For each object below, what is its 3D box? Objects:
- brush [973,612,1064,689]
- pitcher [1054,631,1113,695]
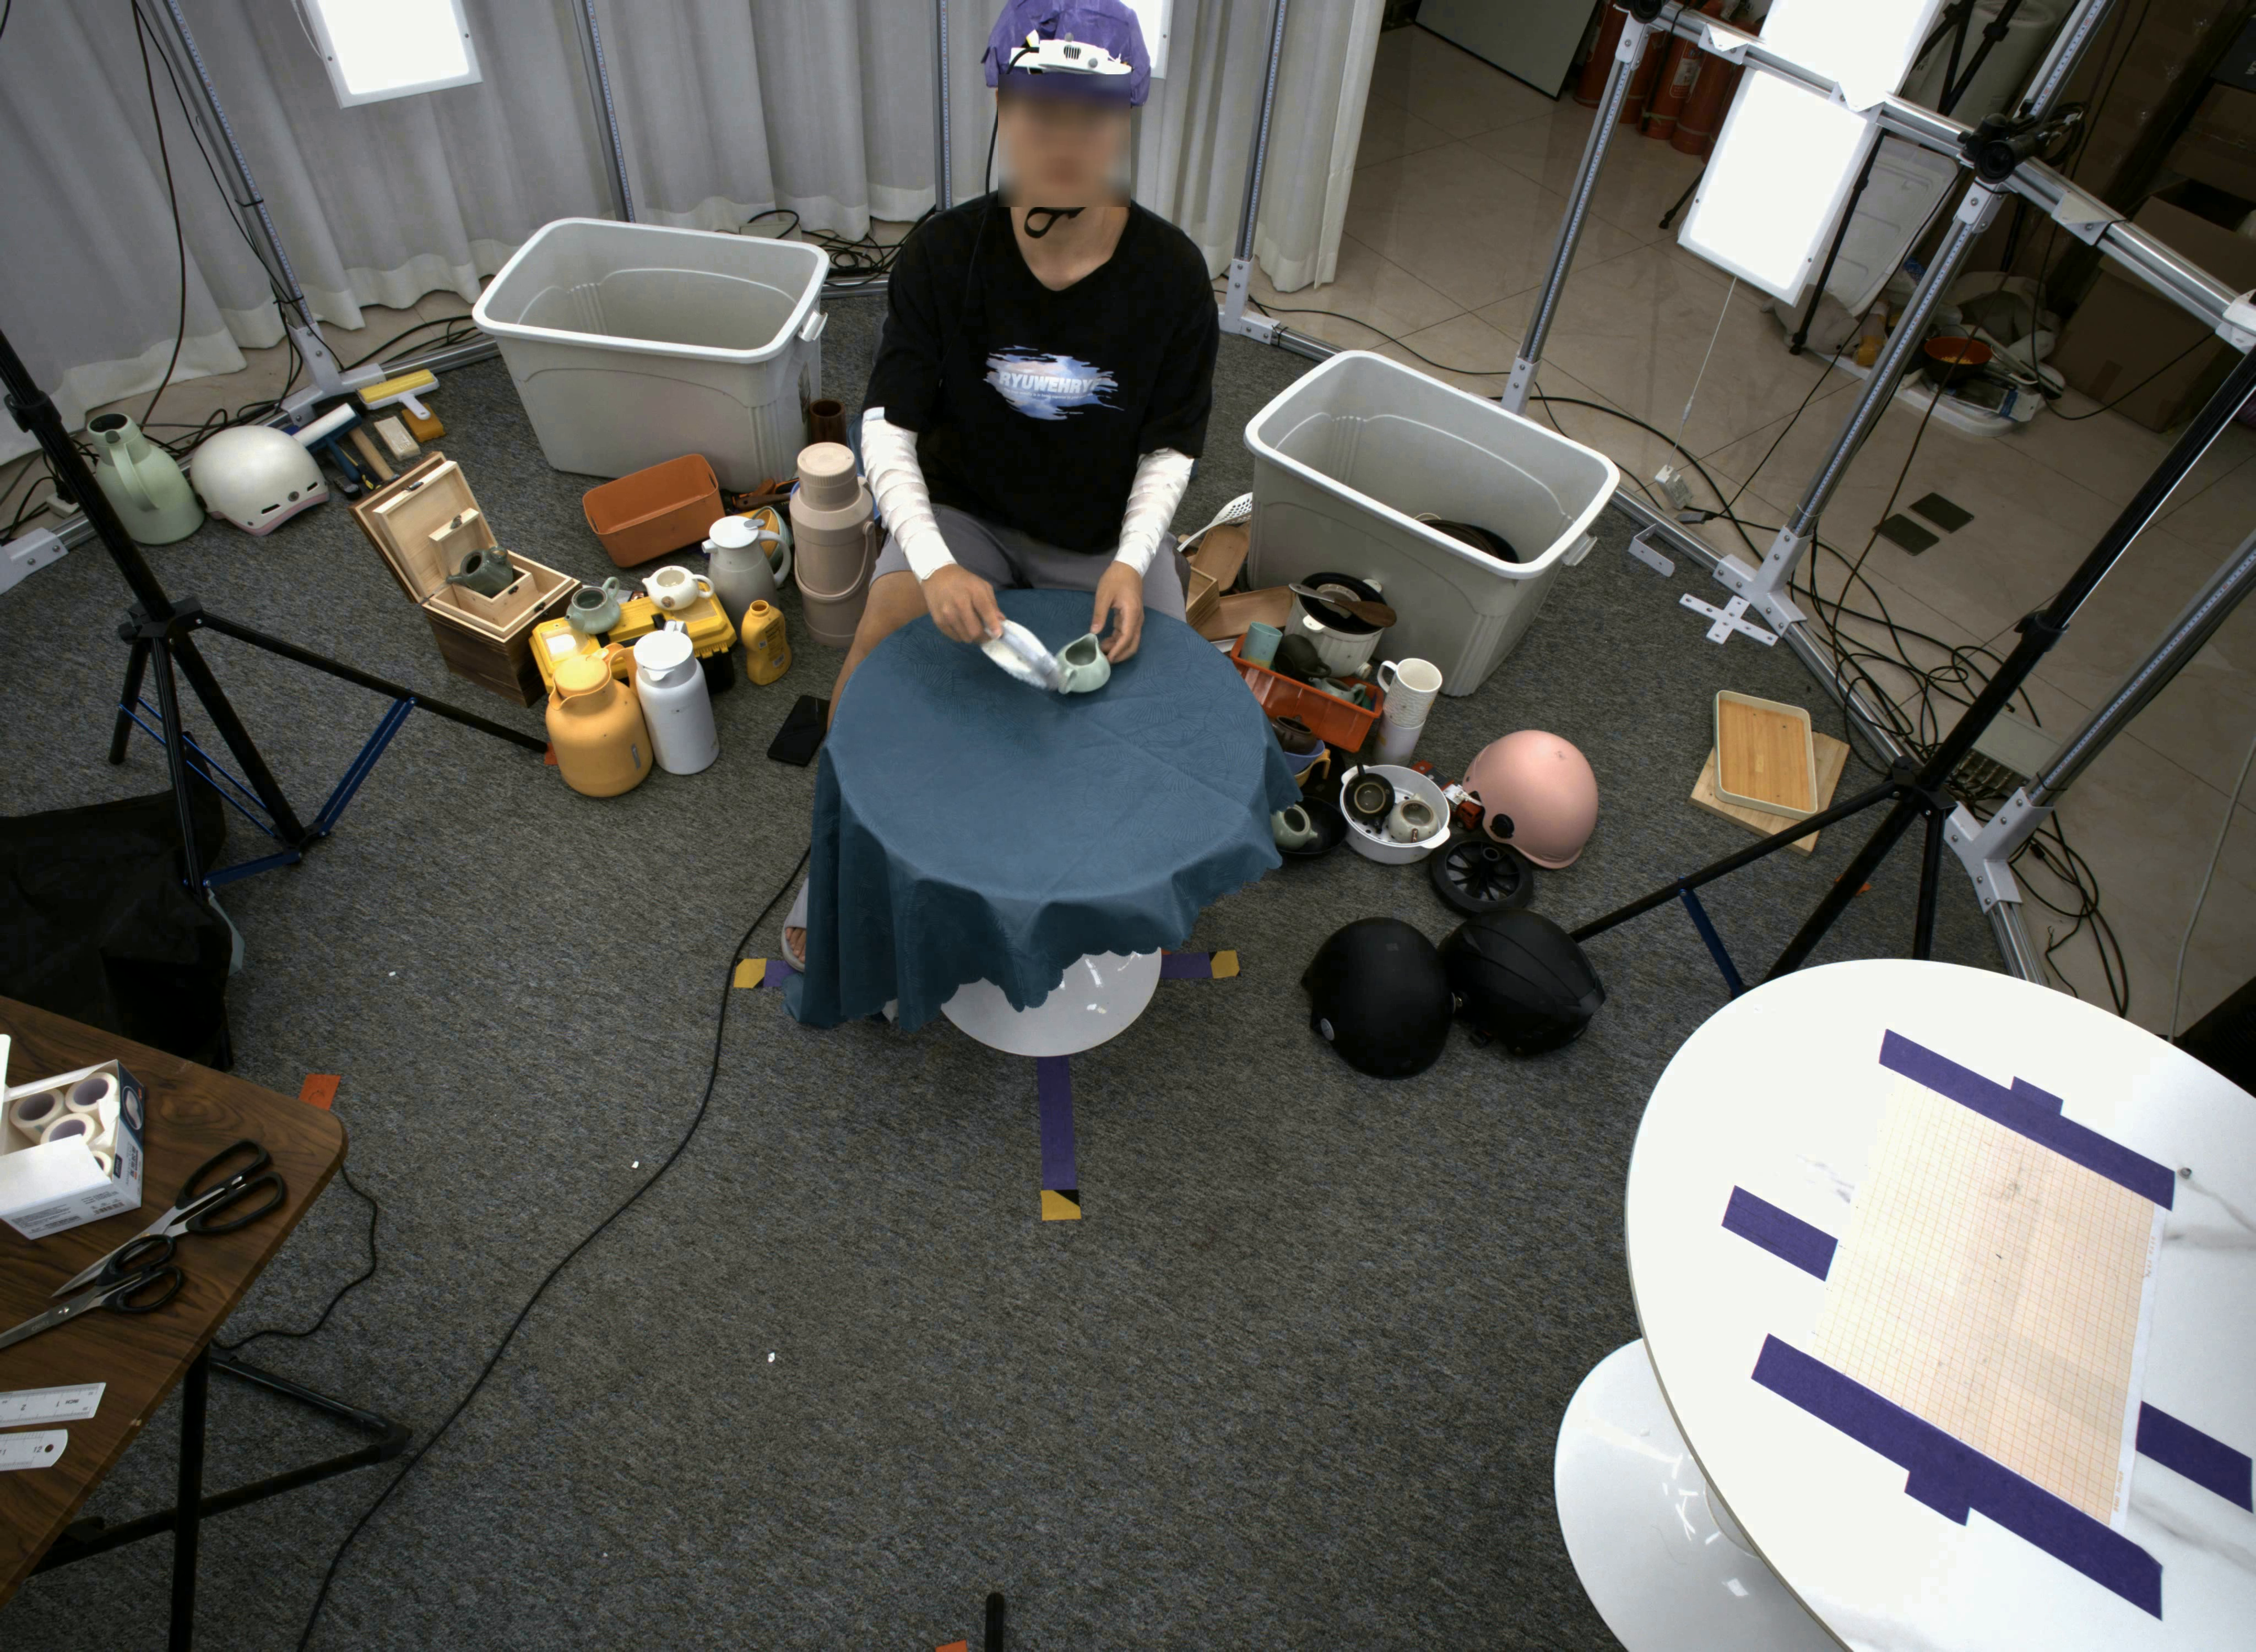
[{"bbox_3d":[-0.156,-0.246,1.763,0.061,0.092,0.179,-50,44,3],"label":"brush"},{"bbox_3d":[-0.069,-0.223,1.825,0.086,0.059,0.110,17,53,11],"label":"pitcher"}]
